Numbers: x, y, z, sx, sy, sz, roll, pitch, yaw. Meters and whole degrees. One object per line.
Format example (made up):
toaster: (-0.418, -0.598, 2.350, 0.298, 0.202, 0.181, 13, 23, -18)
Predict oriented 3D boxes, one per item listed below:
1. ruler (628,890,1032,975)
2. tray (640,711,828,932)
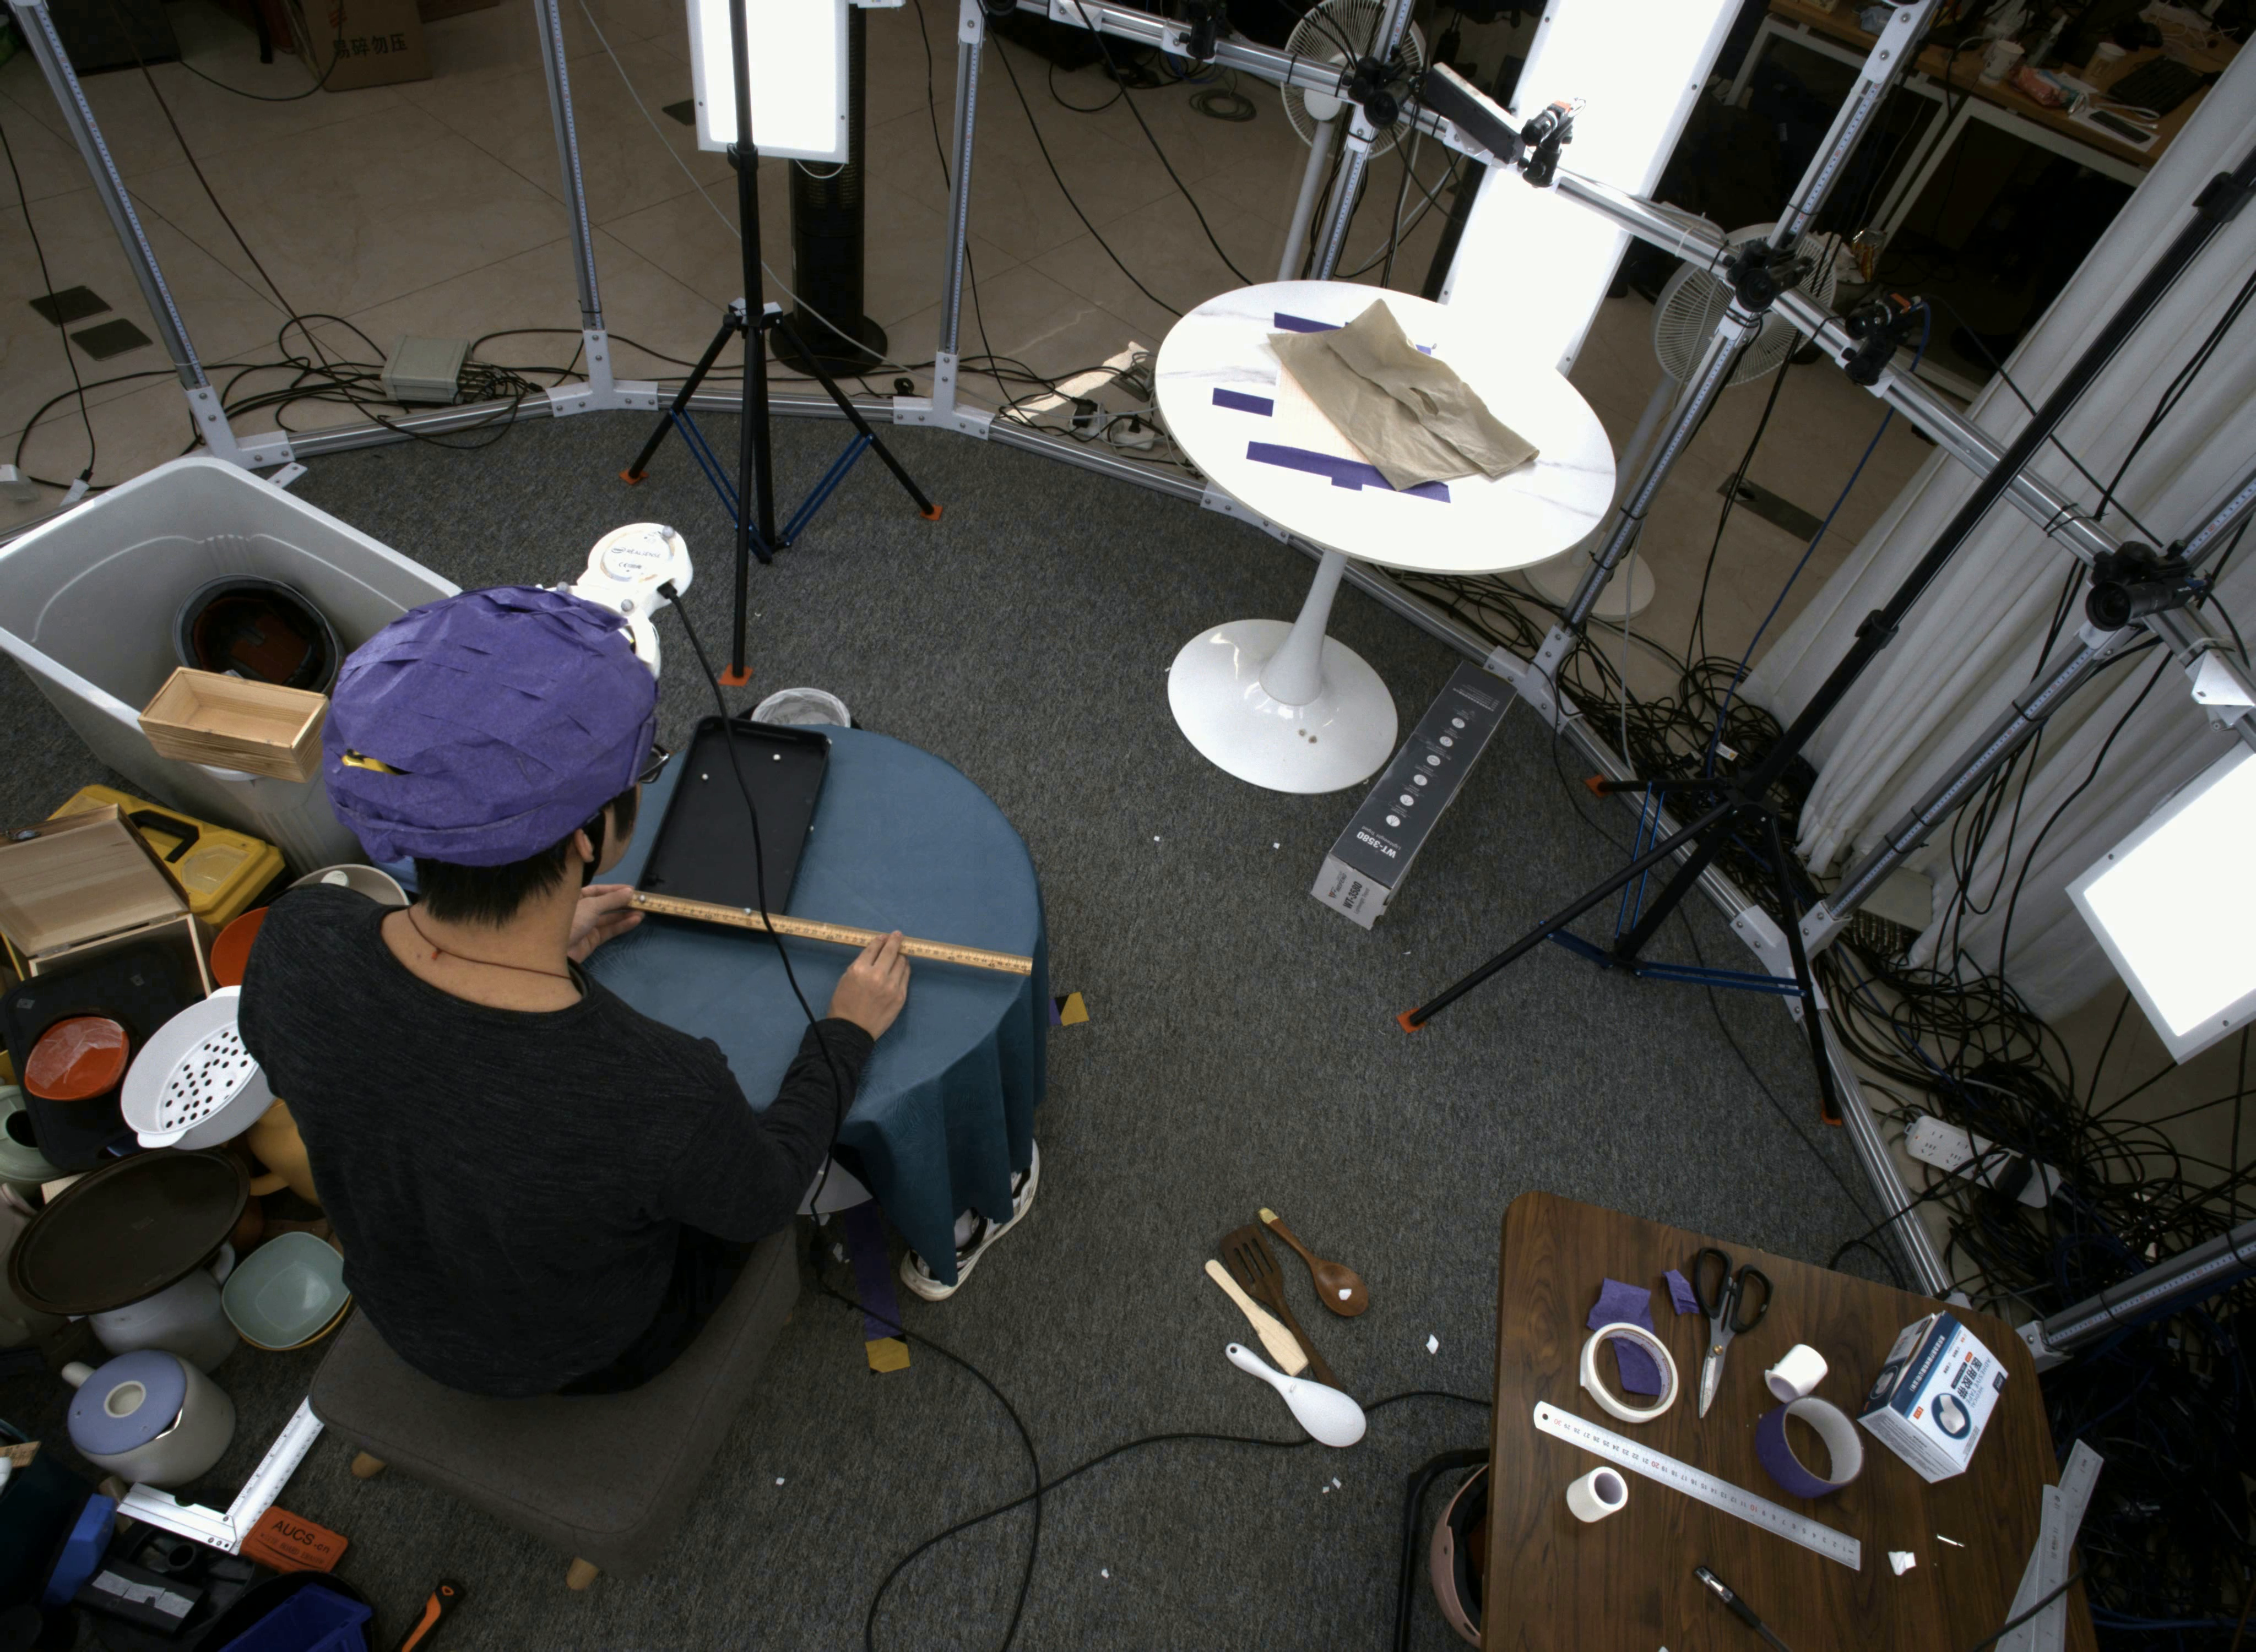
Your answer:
ruler: (-0.364, 0.129, 1.592, 0.499, 0.006, 0.026, 10, 55, -8)
tray: (-0.507, -0.012, 1.683, 0.184, 0.038, 0.312, 9, 53, -8)
